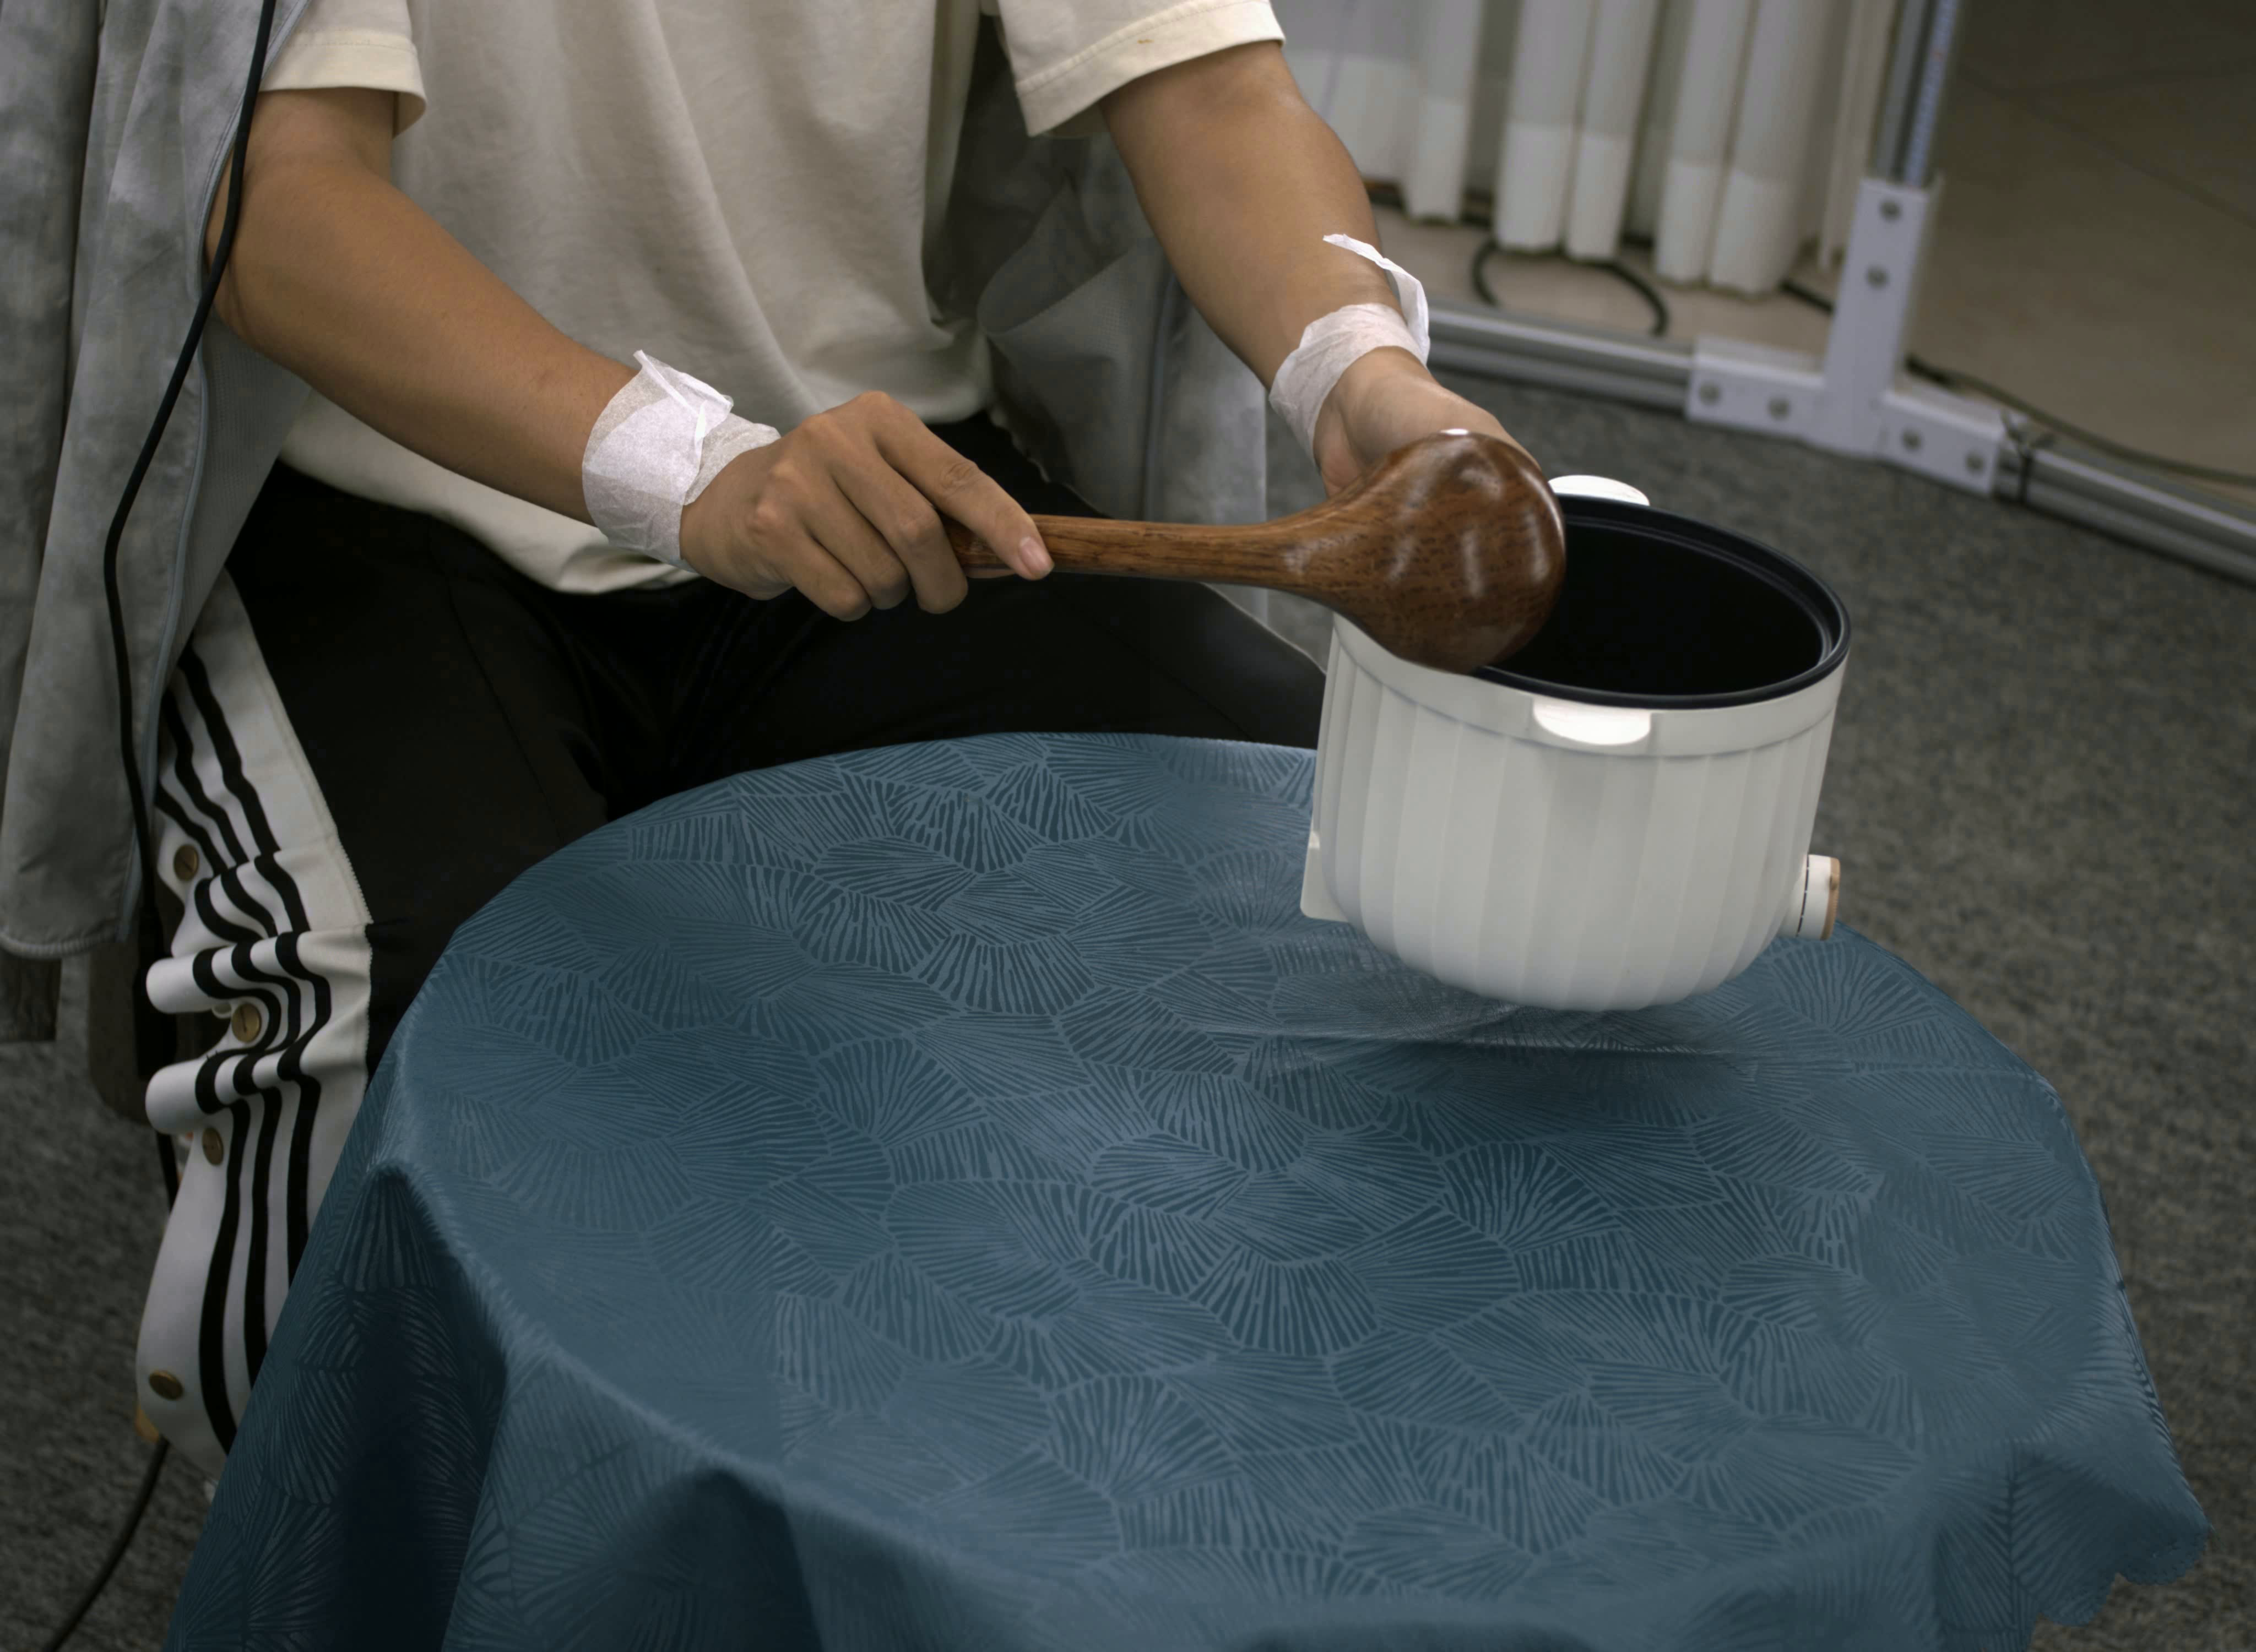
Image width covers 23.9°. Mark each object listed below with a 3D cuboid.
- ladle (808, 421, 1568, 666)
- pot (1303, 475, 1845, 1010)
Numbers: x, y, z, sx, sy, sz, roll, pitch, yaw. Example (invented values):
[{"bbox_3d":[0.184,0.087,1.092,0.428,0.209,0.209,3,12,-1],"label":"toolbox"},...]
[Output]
[{"bbox_3d":[0.021,-0.098,1.835,0.275,0.082,0.076,2,3,34],"label":"ladle"},{"bbox_3d":[0.161,-0.023,1.889,0.190,0.142,0.241,4,26,3],"label":"pot"}]
